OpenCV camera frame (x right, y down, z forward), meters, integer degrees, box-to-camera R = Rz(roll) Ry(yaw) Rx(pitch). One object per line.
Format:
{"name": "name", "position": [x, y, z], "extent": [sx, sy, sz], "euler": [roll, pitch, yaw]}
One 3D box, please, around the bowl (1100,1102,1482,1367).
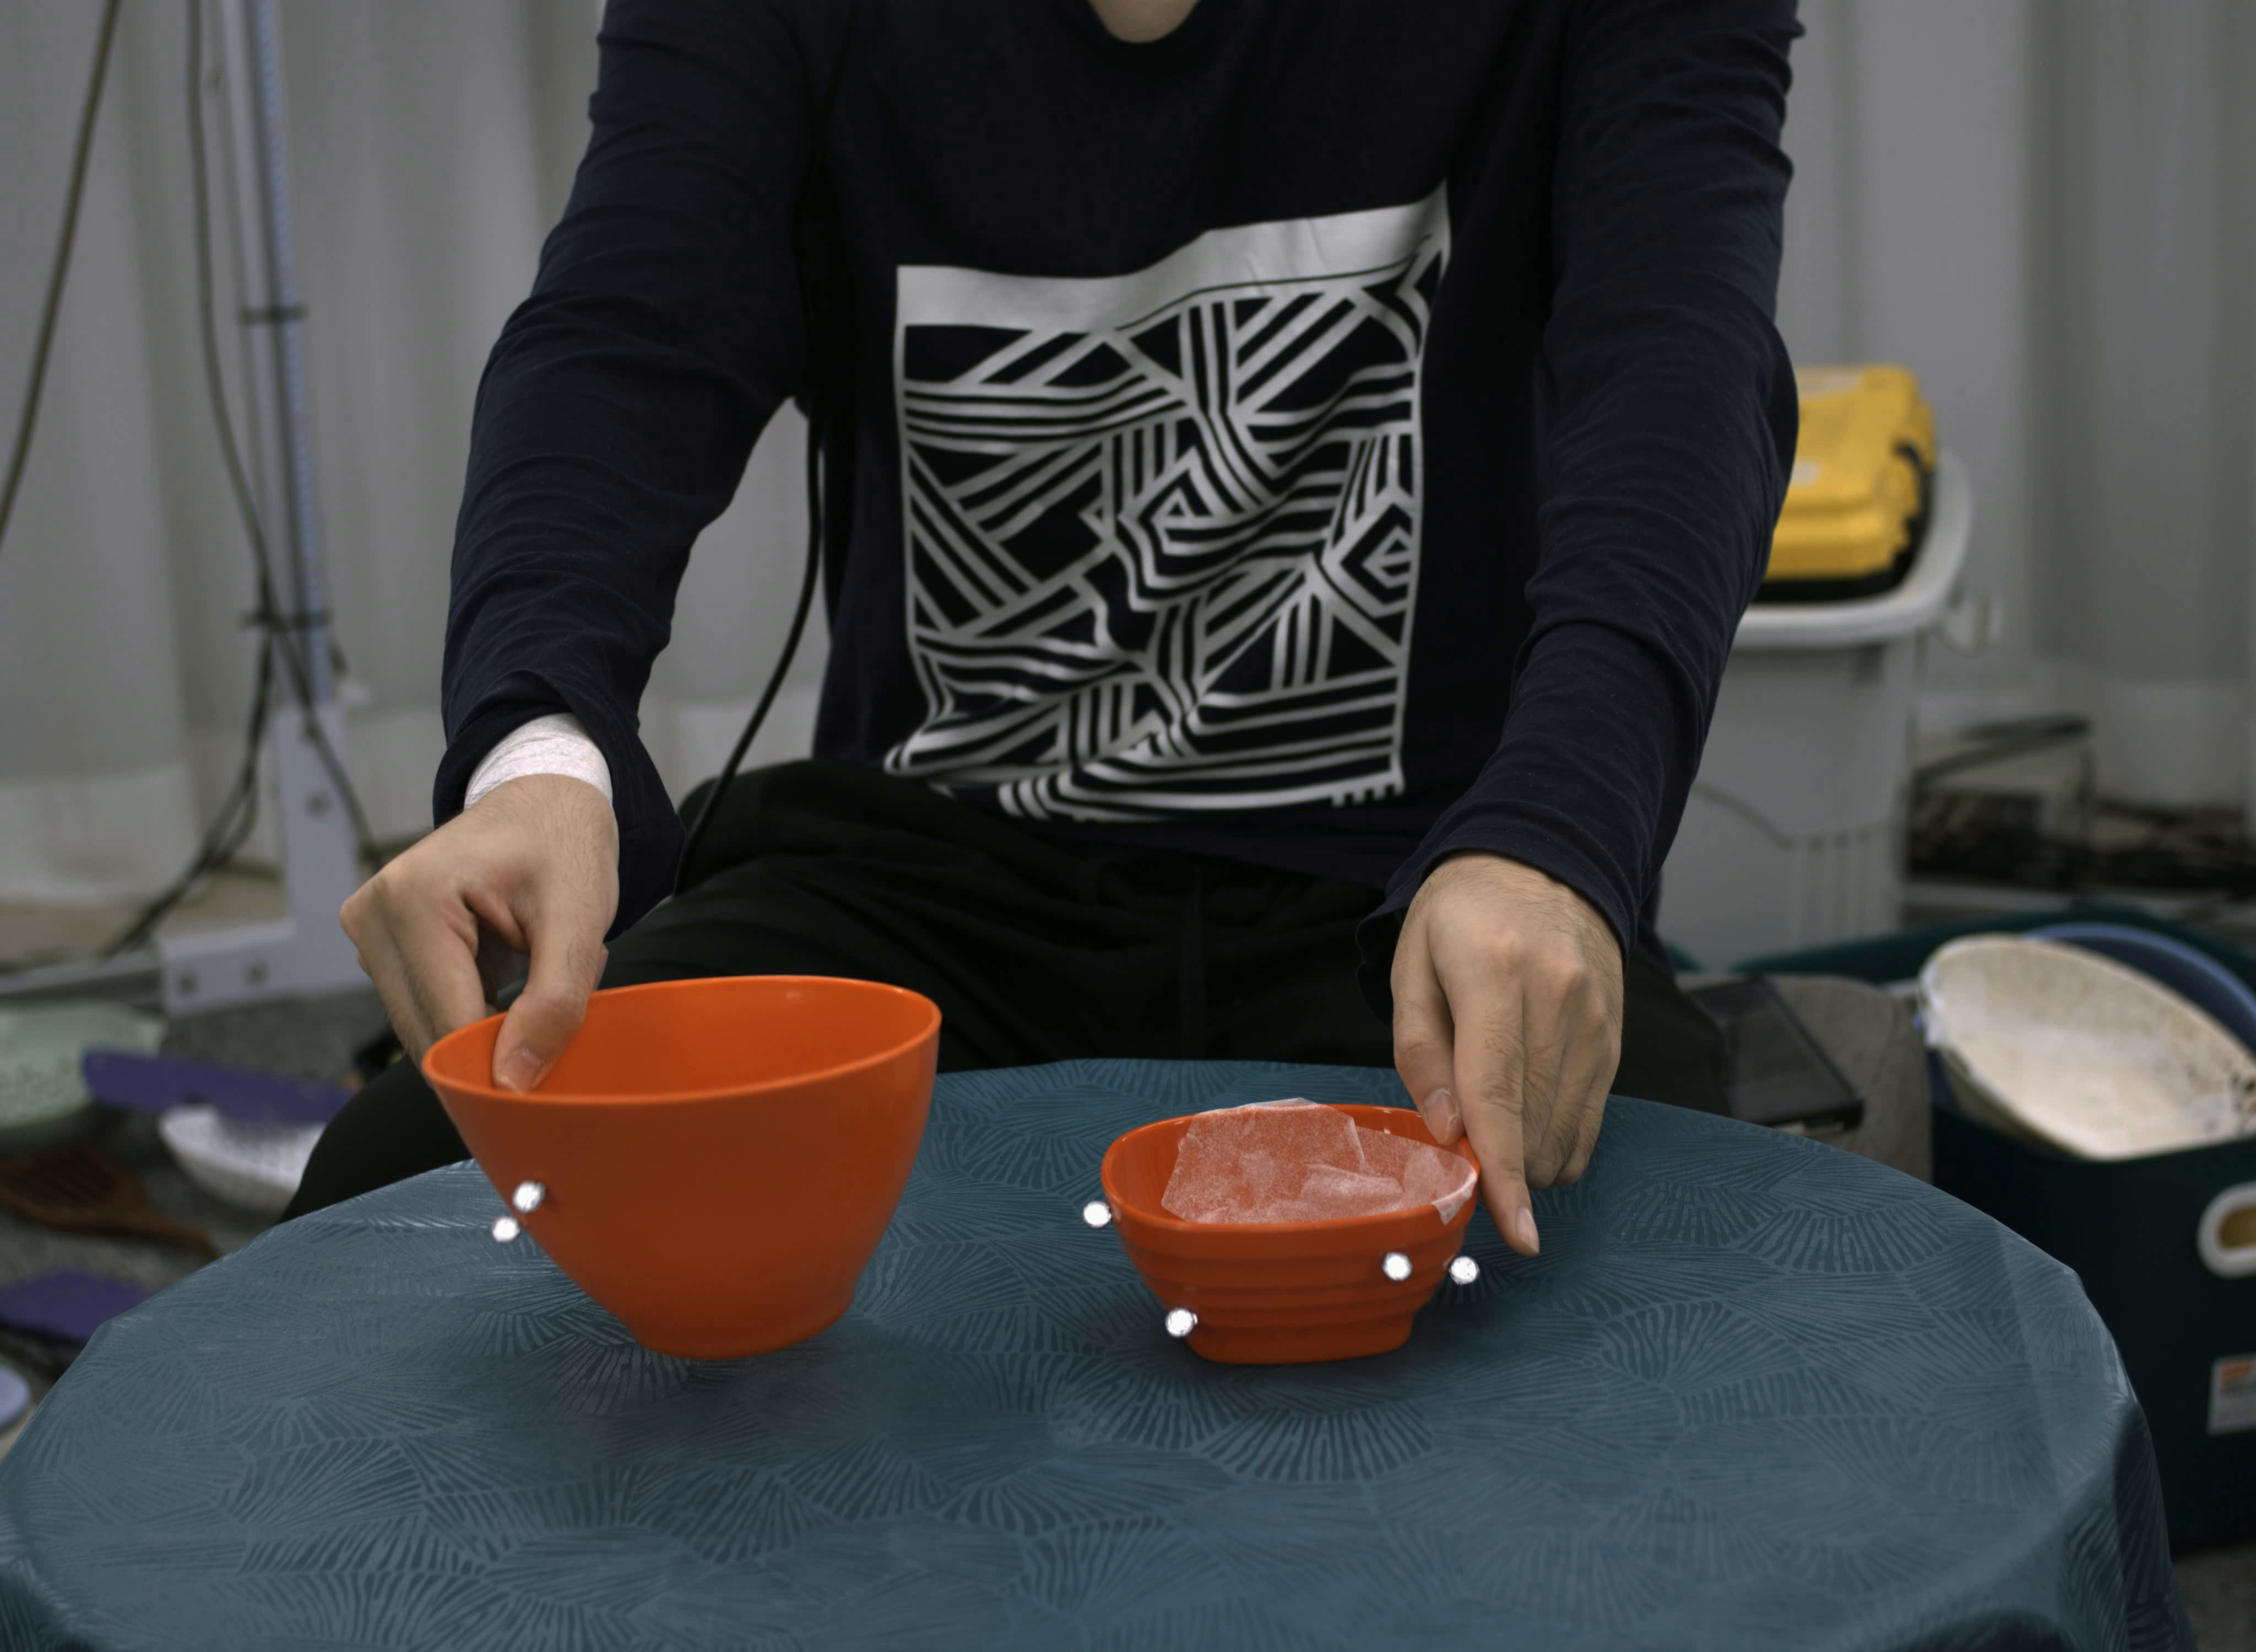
{"name": "bowl", "position": [0.048, 0.121, 1.587], "extent": [0.118, 0.051, 0.120], "euler": [-4, 14, 1]}

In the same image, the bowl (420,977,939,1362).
{"name": "bowl", "position": [-0.122, 0.098, 1.565], "extent": [0.147, 0.104, 0.149], "euler": [-7, 18, 2]}
